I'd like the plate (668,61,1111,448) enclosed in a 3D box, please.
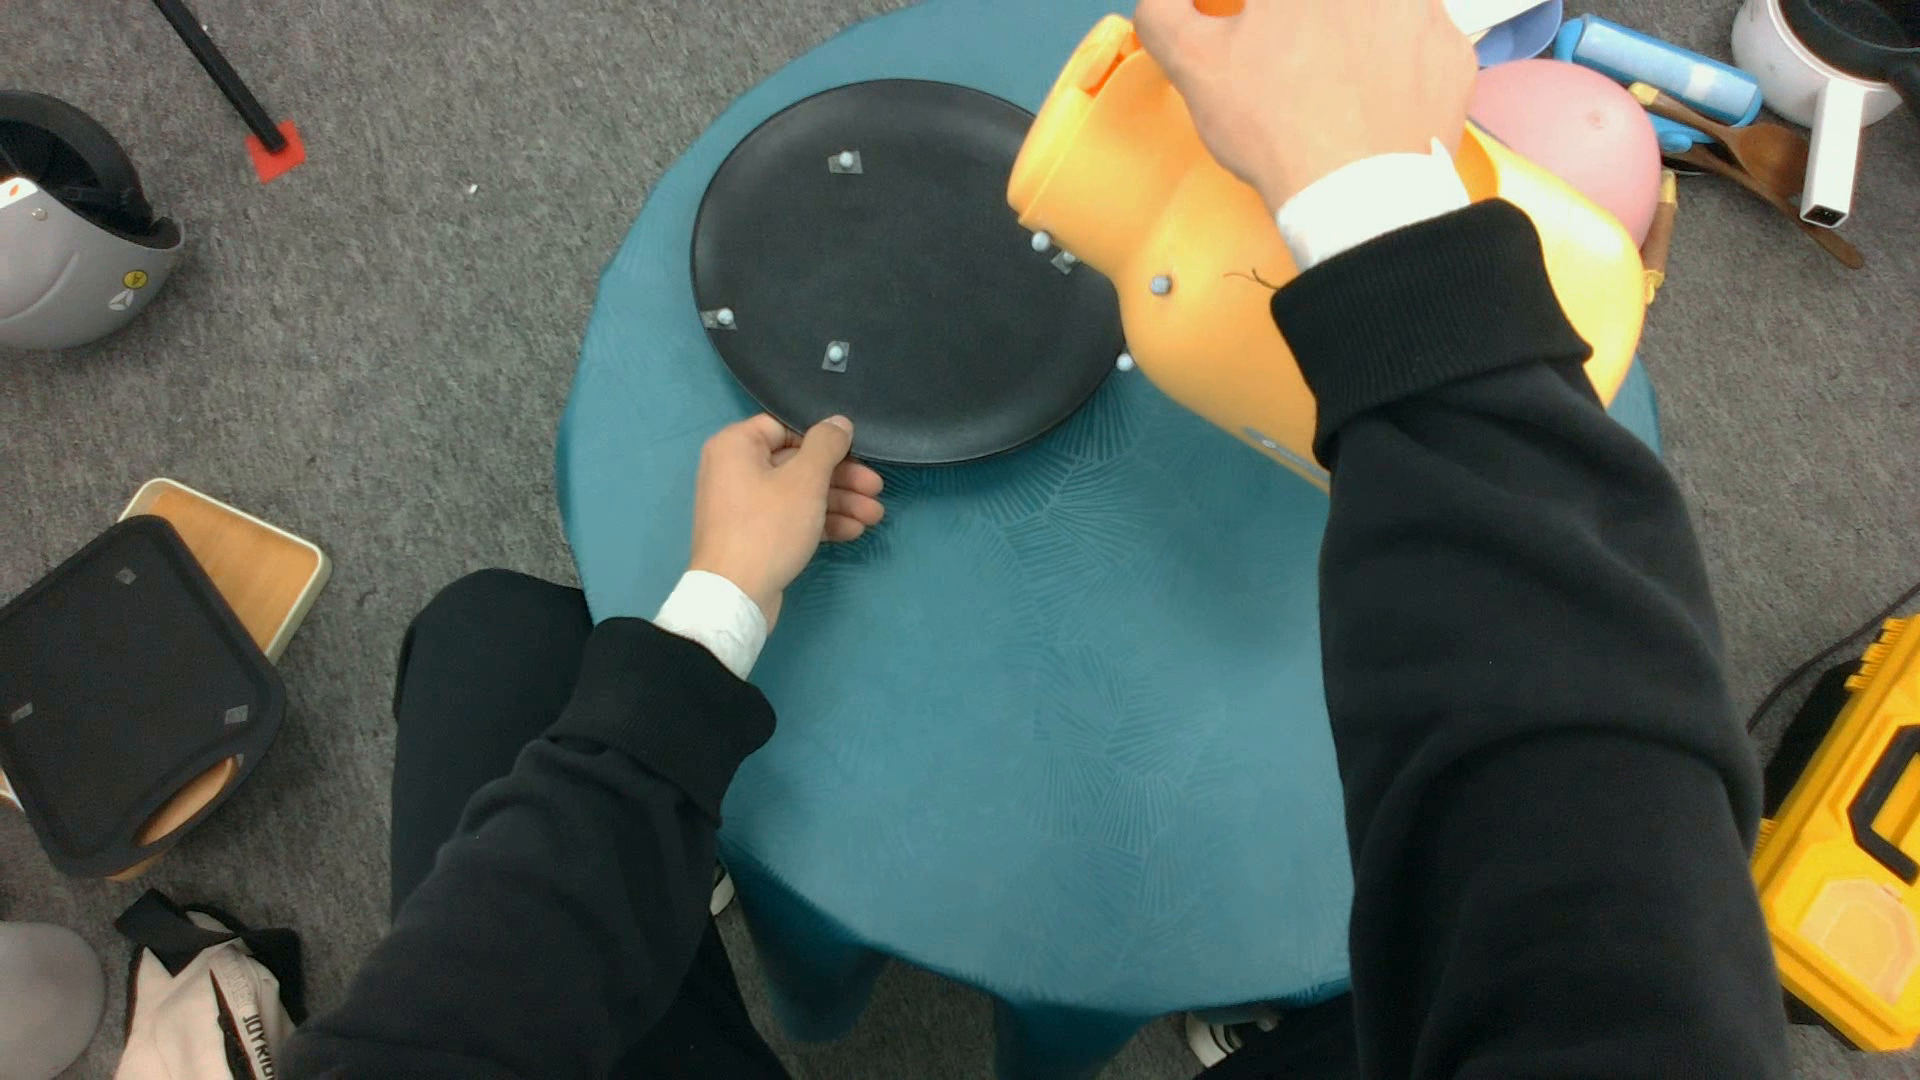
[{"bbox_3d":[-0.036,-0.157,0.755,0.244,0.023,0.245,2,68,-5],"label":"plate"}]

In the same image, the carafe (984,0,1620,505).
[{"bbox_3d":[0.142,-0.135,0.586,0.260,0.202,0.163,26,81,-6],"label":"carafe"}]
